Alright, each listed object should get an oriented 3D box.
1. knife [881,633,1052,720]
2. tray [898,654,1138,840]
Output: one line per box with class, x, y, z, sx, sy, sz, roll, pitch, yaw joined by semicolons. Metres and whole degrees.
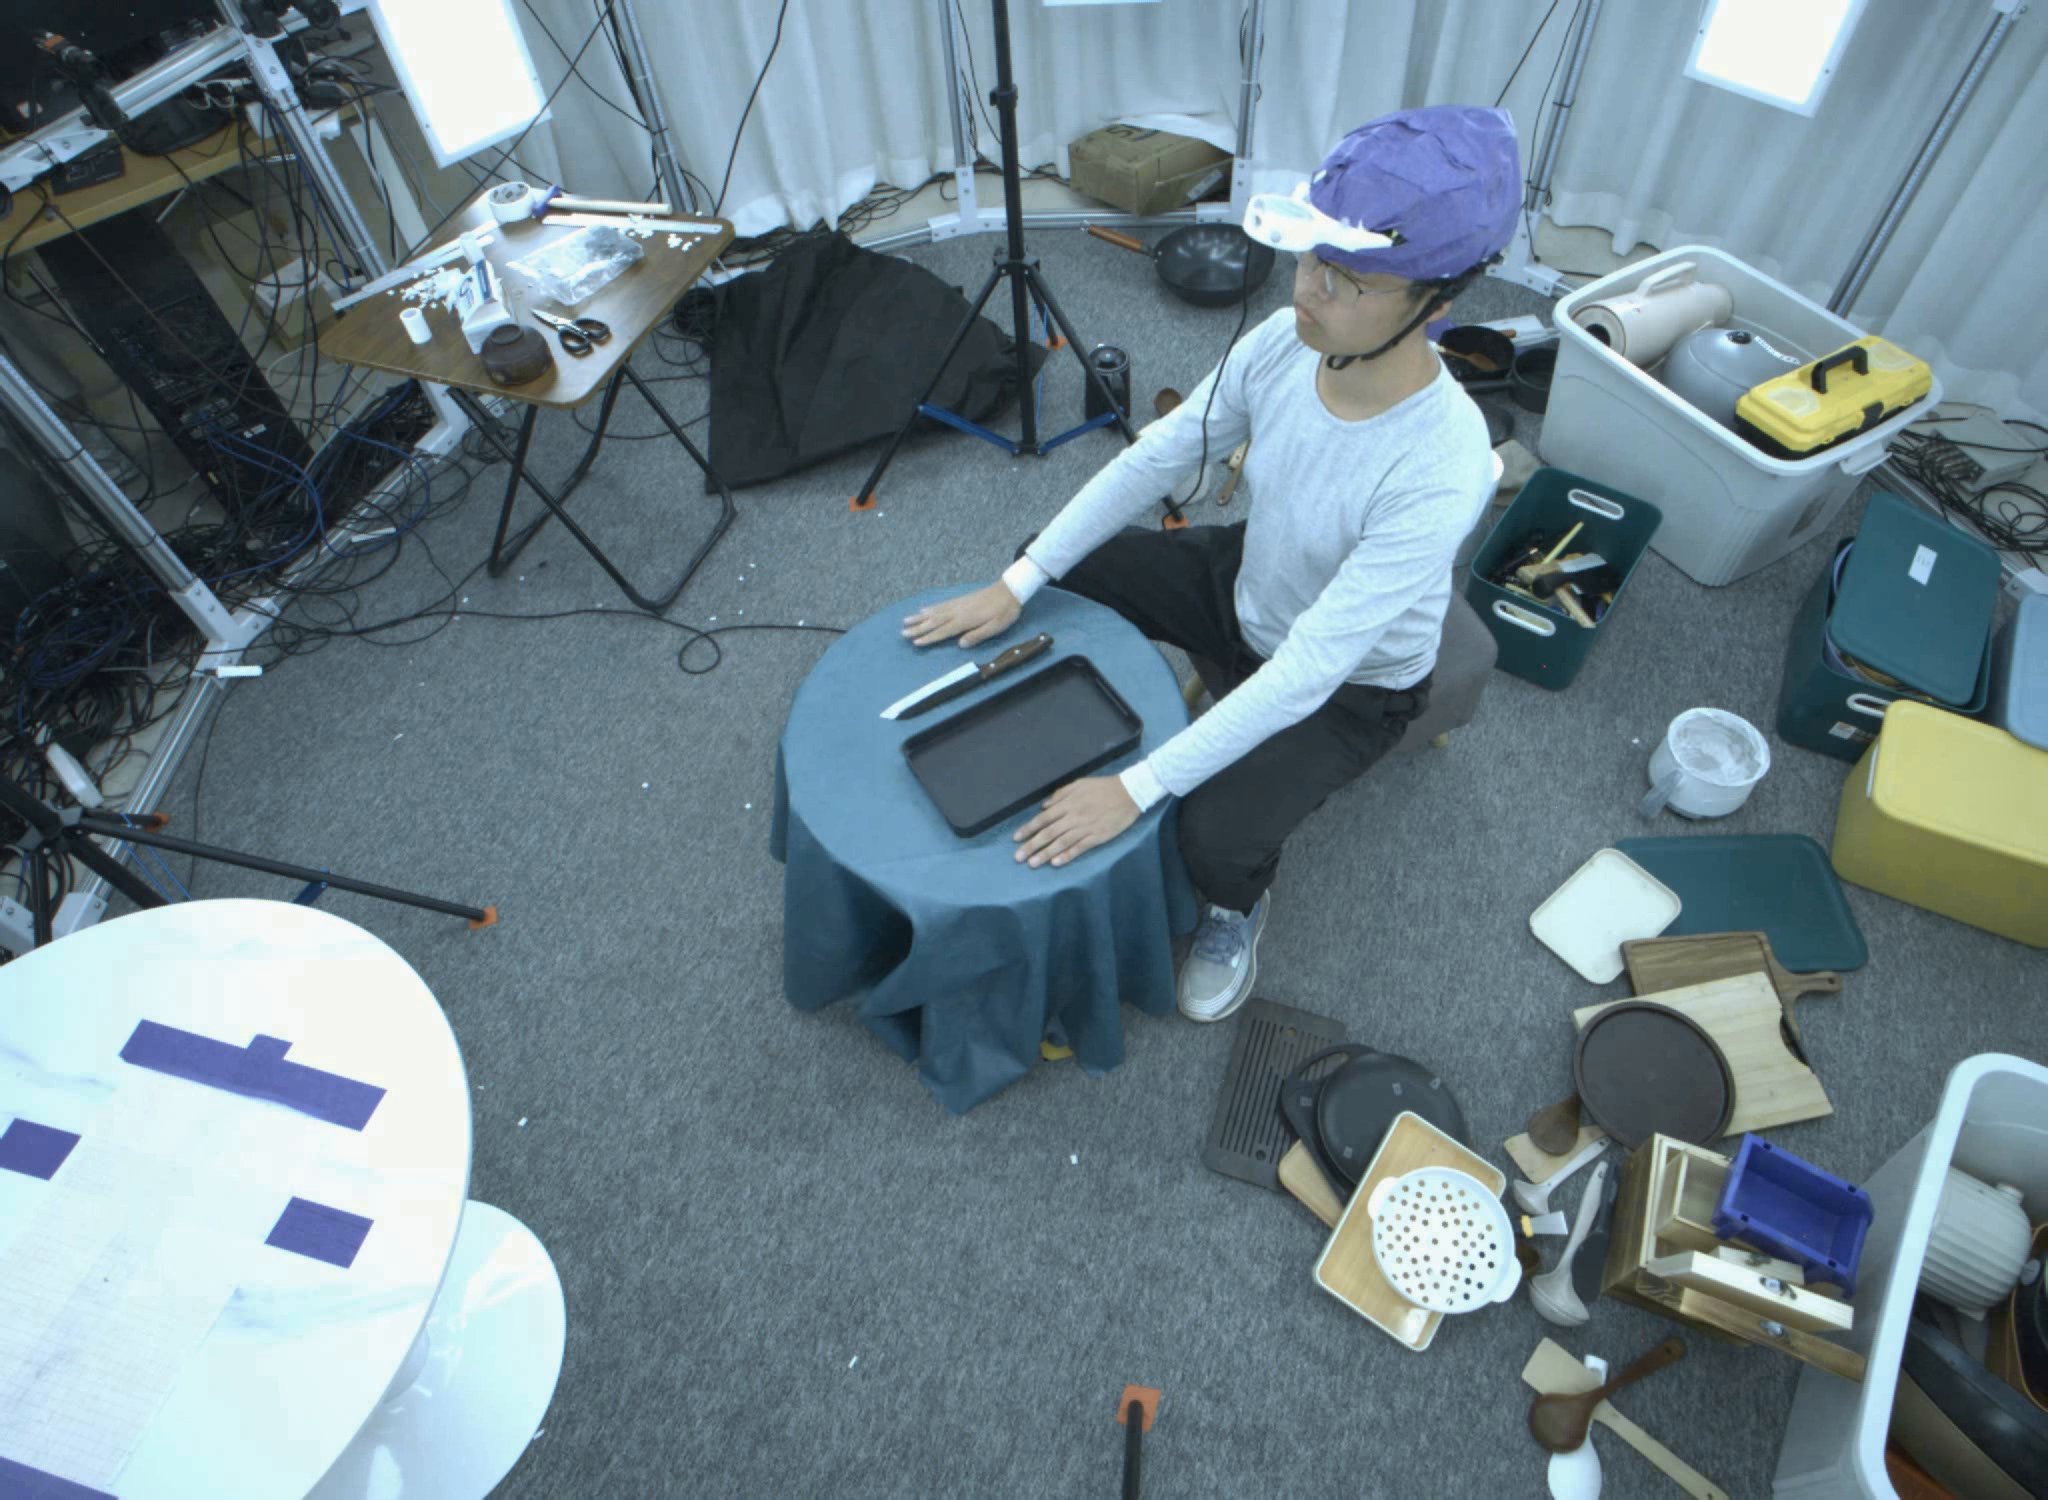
knife;-0.087;-0.110;1.867;0.291;0.020;0.049;-26;53;-13
tray;-0.007;-0.009;1.780;0.320;0.037;0.181;-29;59;-19
